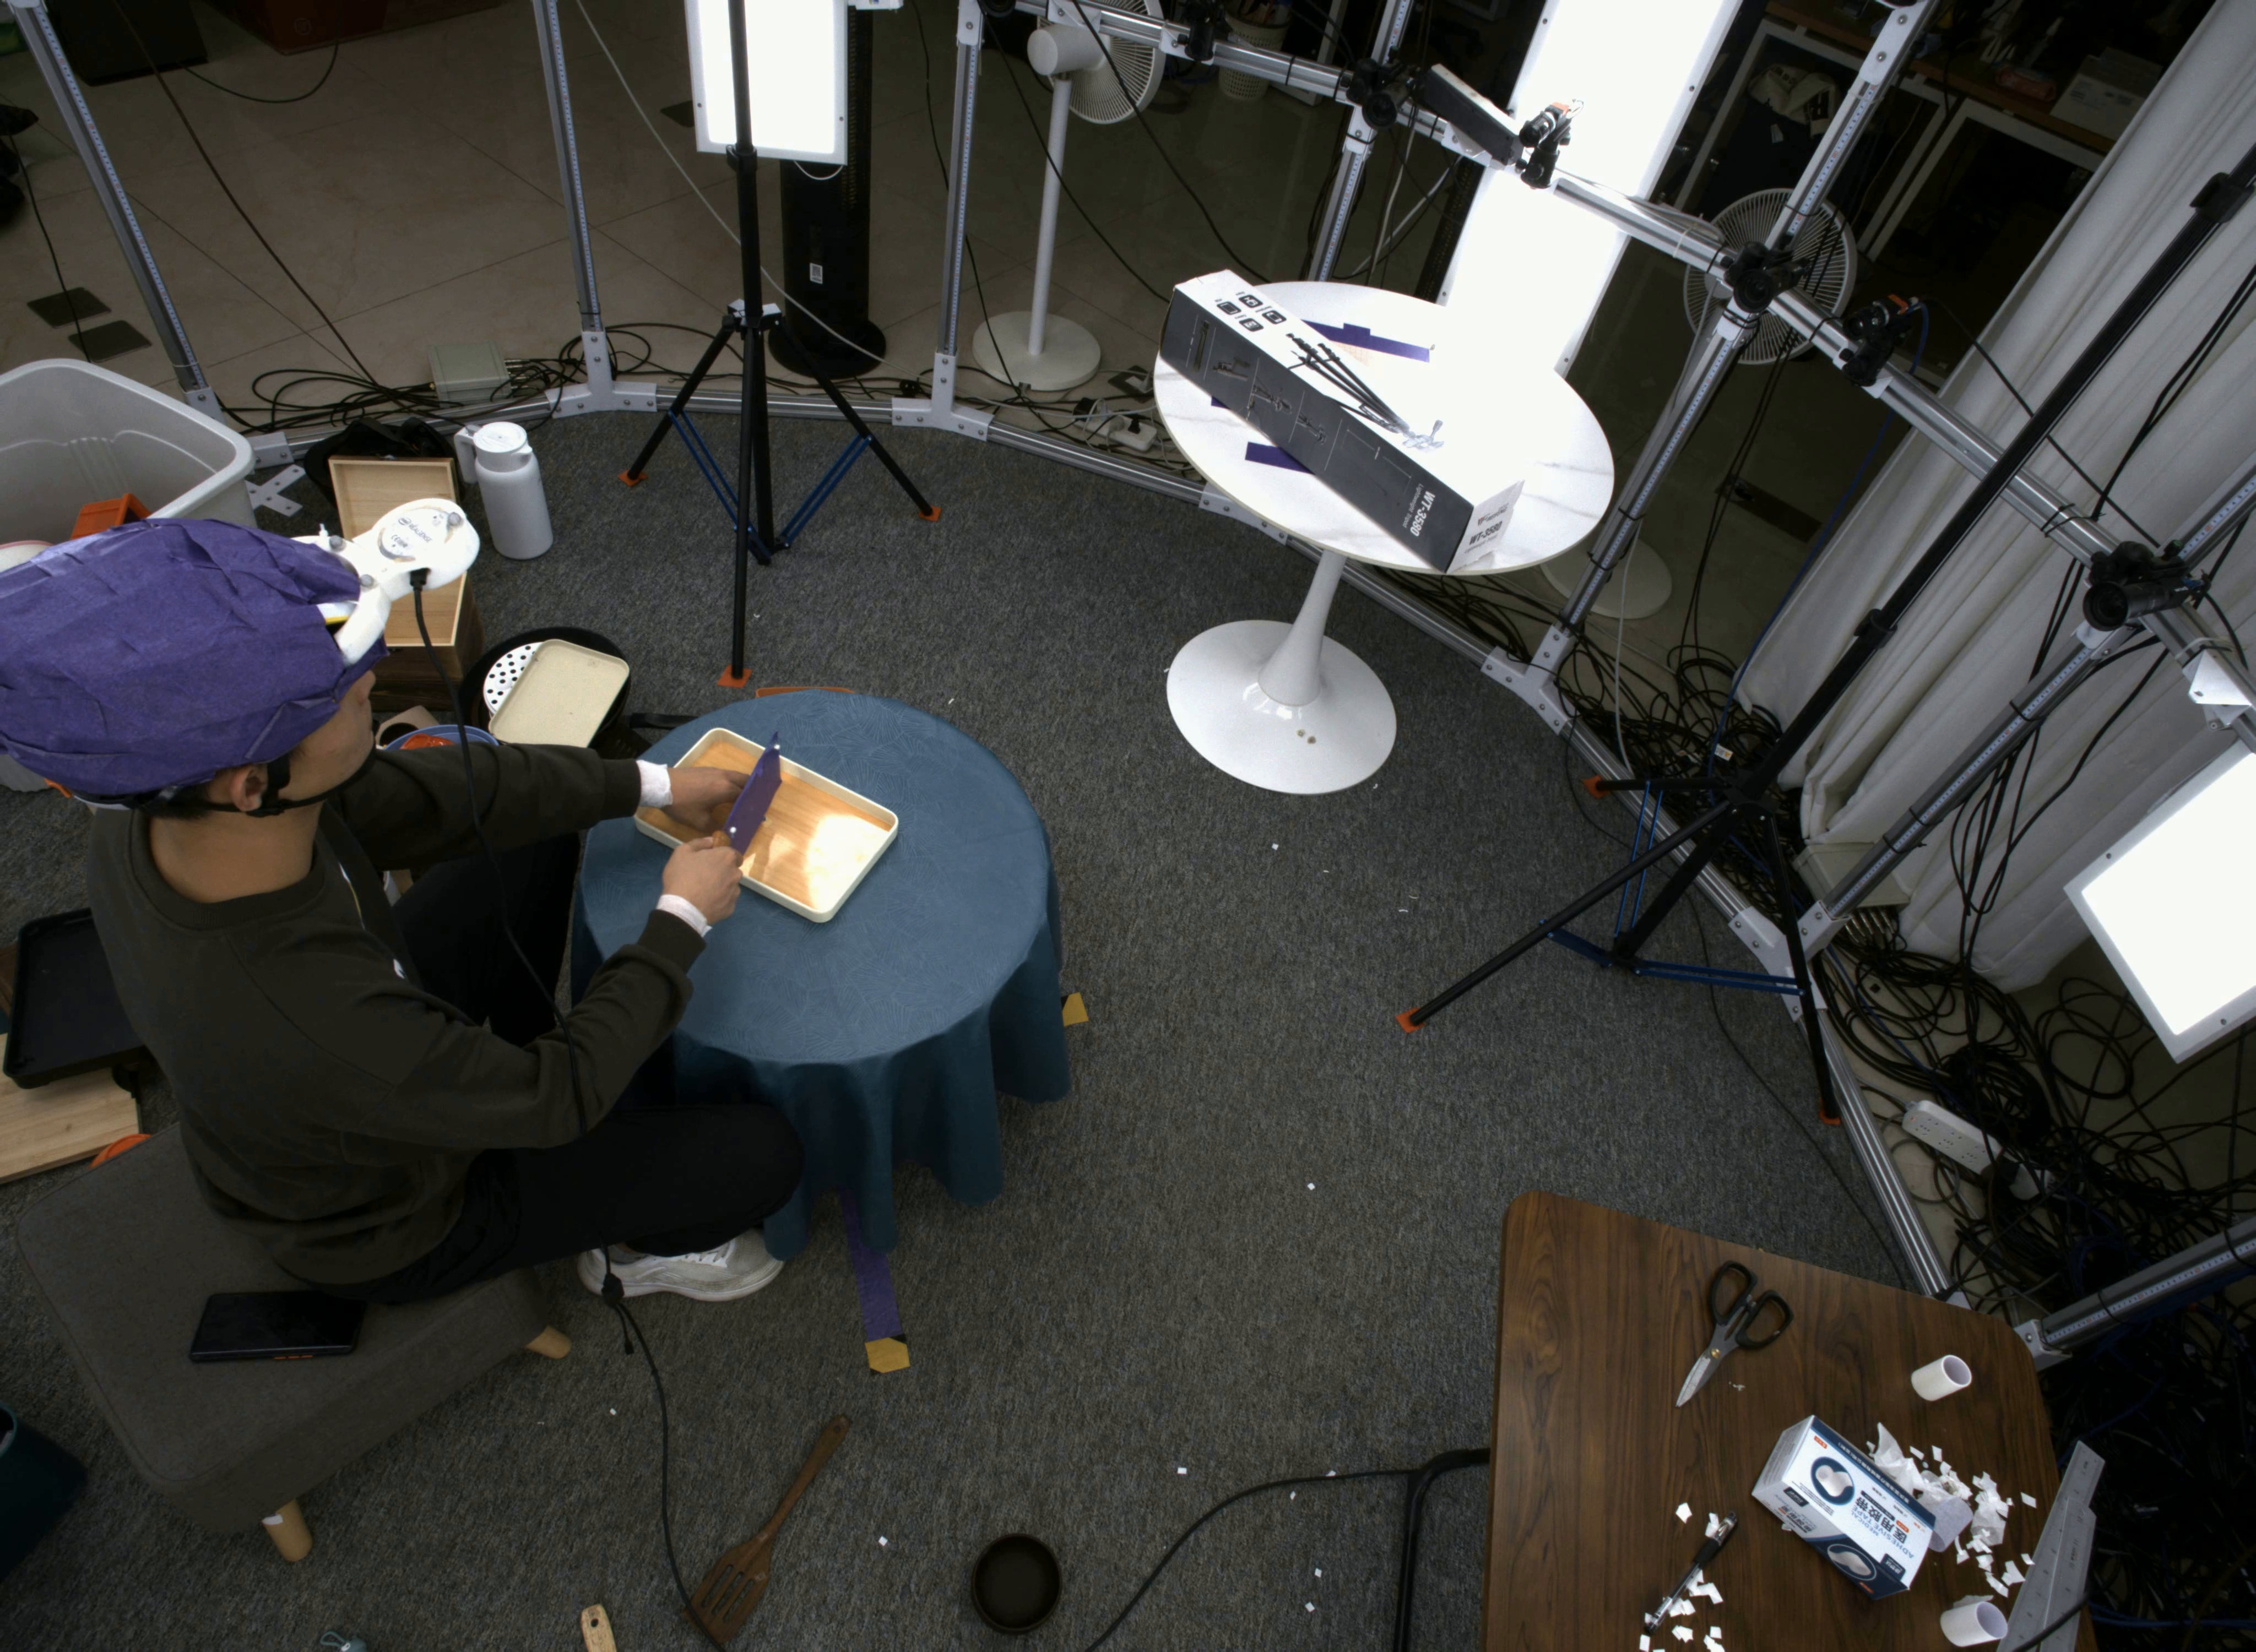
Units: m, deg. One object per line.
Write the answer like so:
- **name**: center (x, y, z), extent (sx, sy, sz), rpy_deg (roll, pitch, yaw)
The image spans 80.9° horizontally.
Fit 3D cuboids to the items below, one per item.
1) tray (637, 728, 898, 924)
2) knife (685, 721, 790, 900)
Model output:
- **tray**: center (-0.474, -0.005, 1.709), extent (0.296, 0.028, 0.190), rpy_deg (26, 53, 6)
- **knife**: center (-0.477, -0.002, 1.616), extent (0.032, 0.107, 0.310), rpy_deg (8, 41, 4)
